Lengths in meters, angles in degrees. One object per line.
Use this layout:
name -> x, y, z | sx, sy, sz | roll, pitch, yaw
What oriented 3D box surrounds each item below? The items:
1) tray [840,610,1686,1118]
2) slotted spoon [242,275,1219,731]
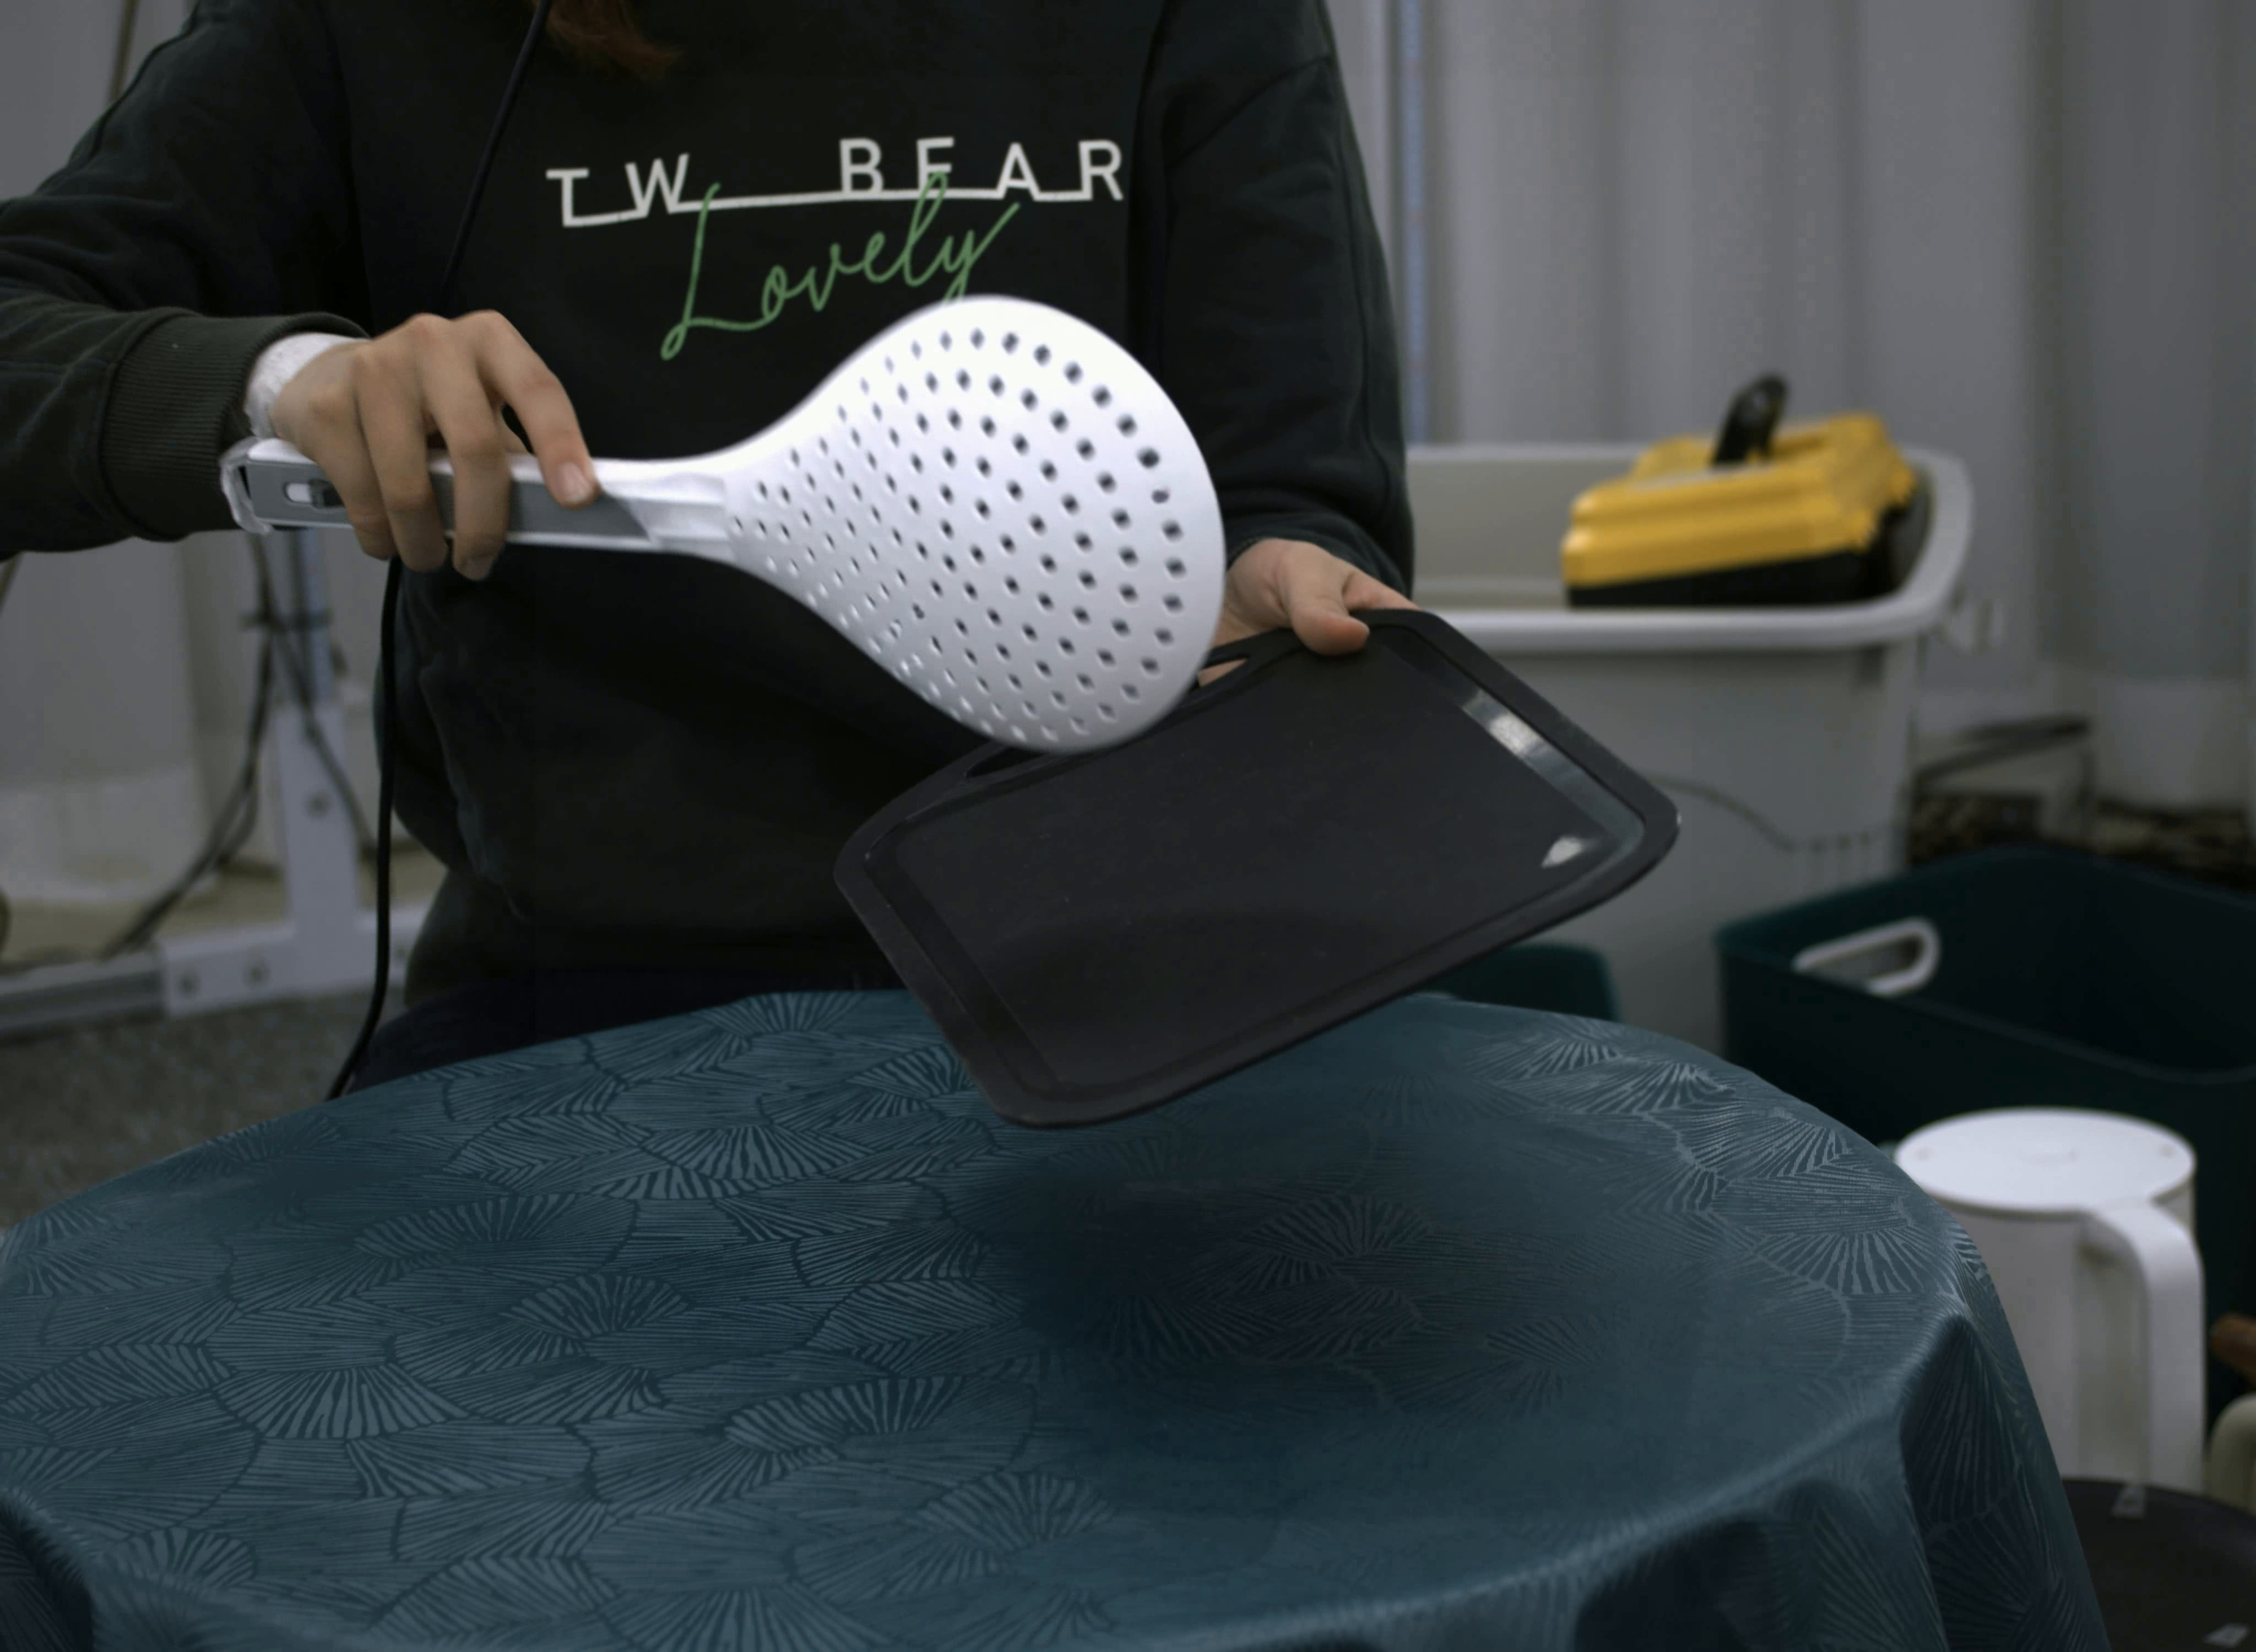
tray -> 0.029, 0.002, 1.624 | 0.210, 0.010, 0.328 | -23, 21, -7
slotted spoon -> -0.128, -0.098, 1.641 | 0.351, 0.135, 0.046 | 6, 19, 36
